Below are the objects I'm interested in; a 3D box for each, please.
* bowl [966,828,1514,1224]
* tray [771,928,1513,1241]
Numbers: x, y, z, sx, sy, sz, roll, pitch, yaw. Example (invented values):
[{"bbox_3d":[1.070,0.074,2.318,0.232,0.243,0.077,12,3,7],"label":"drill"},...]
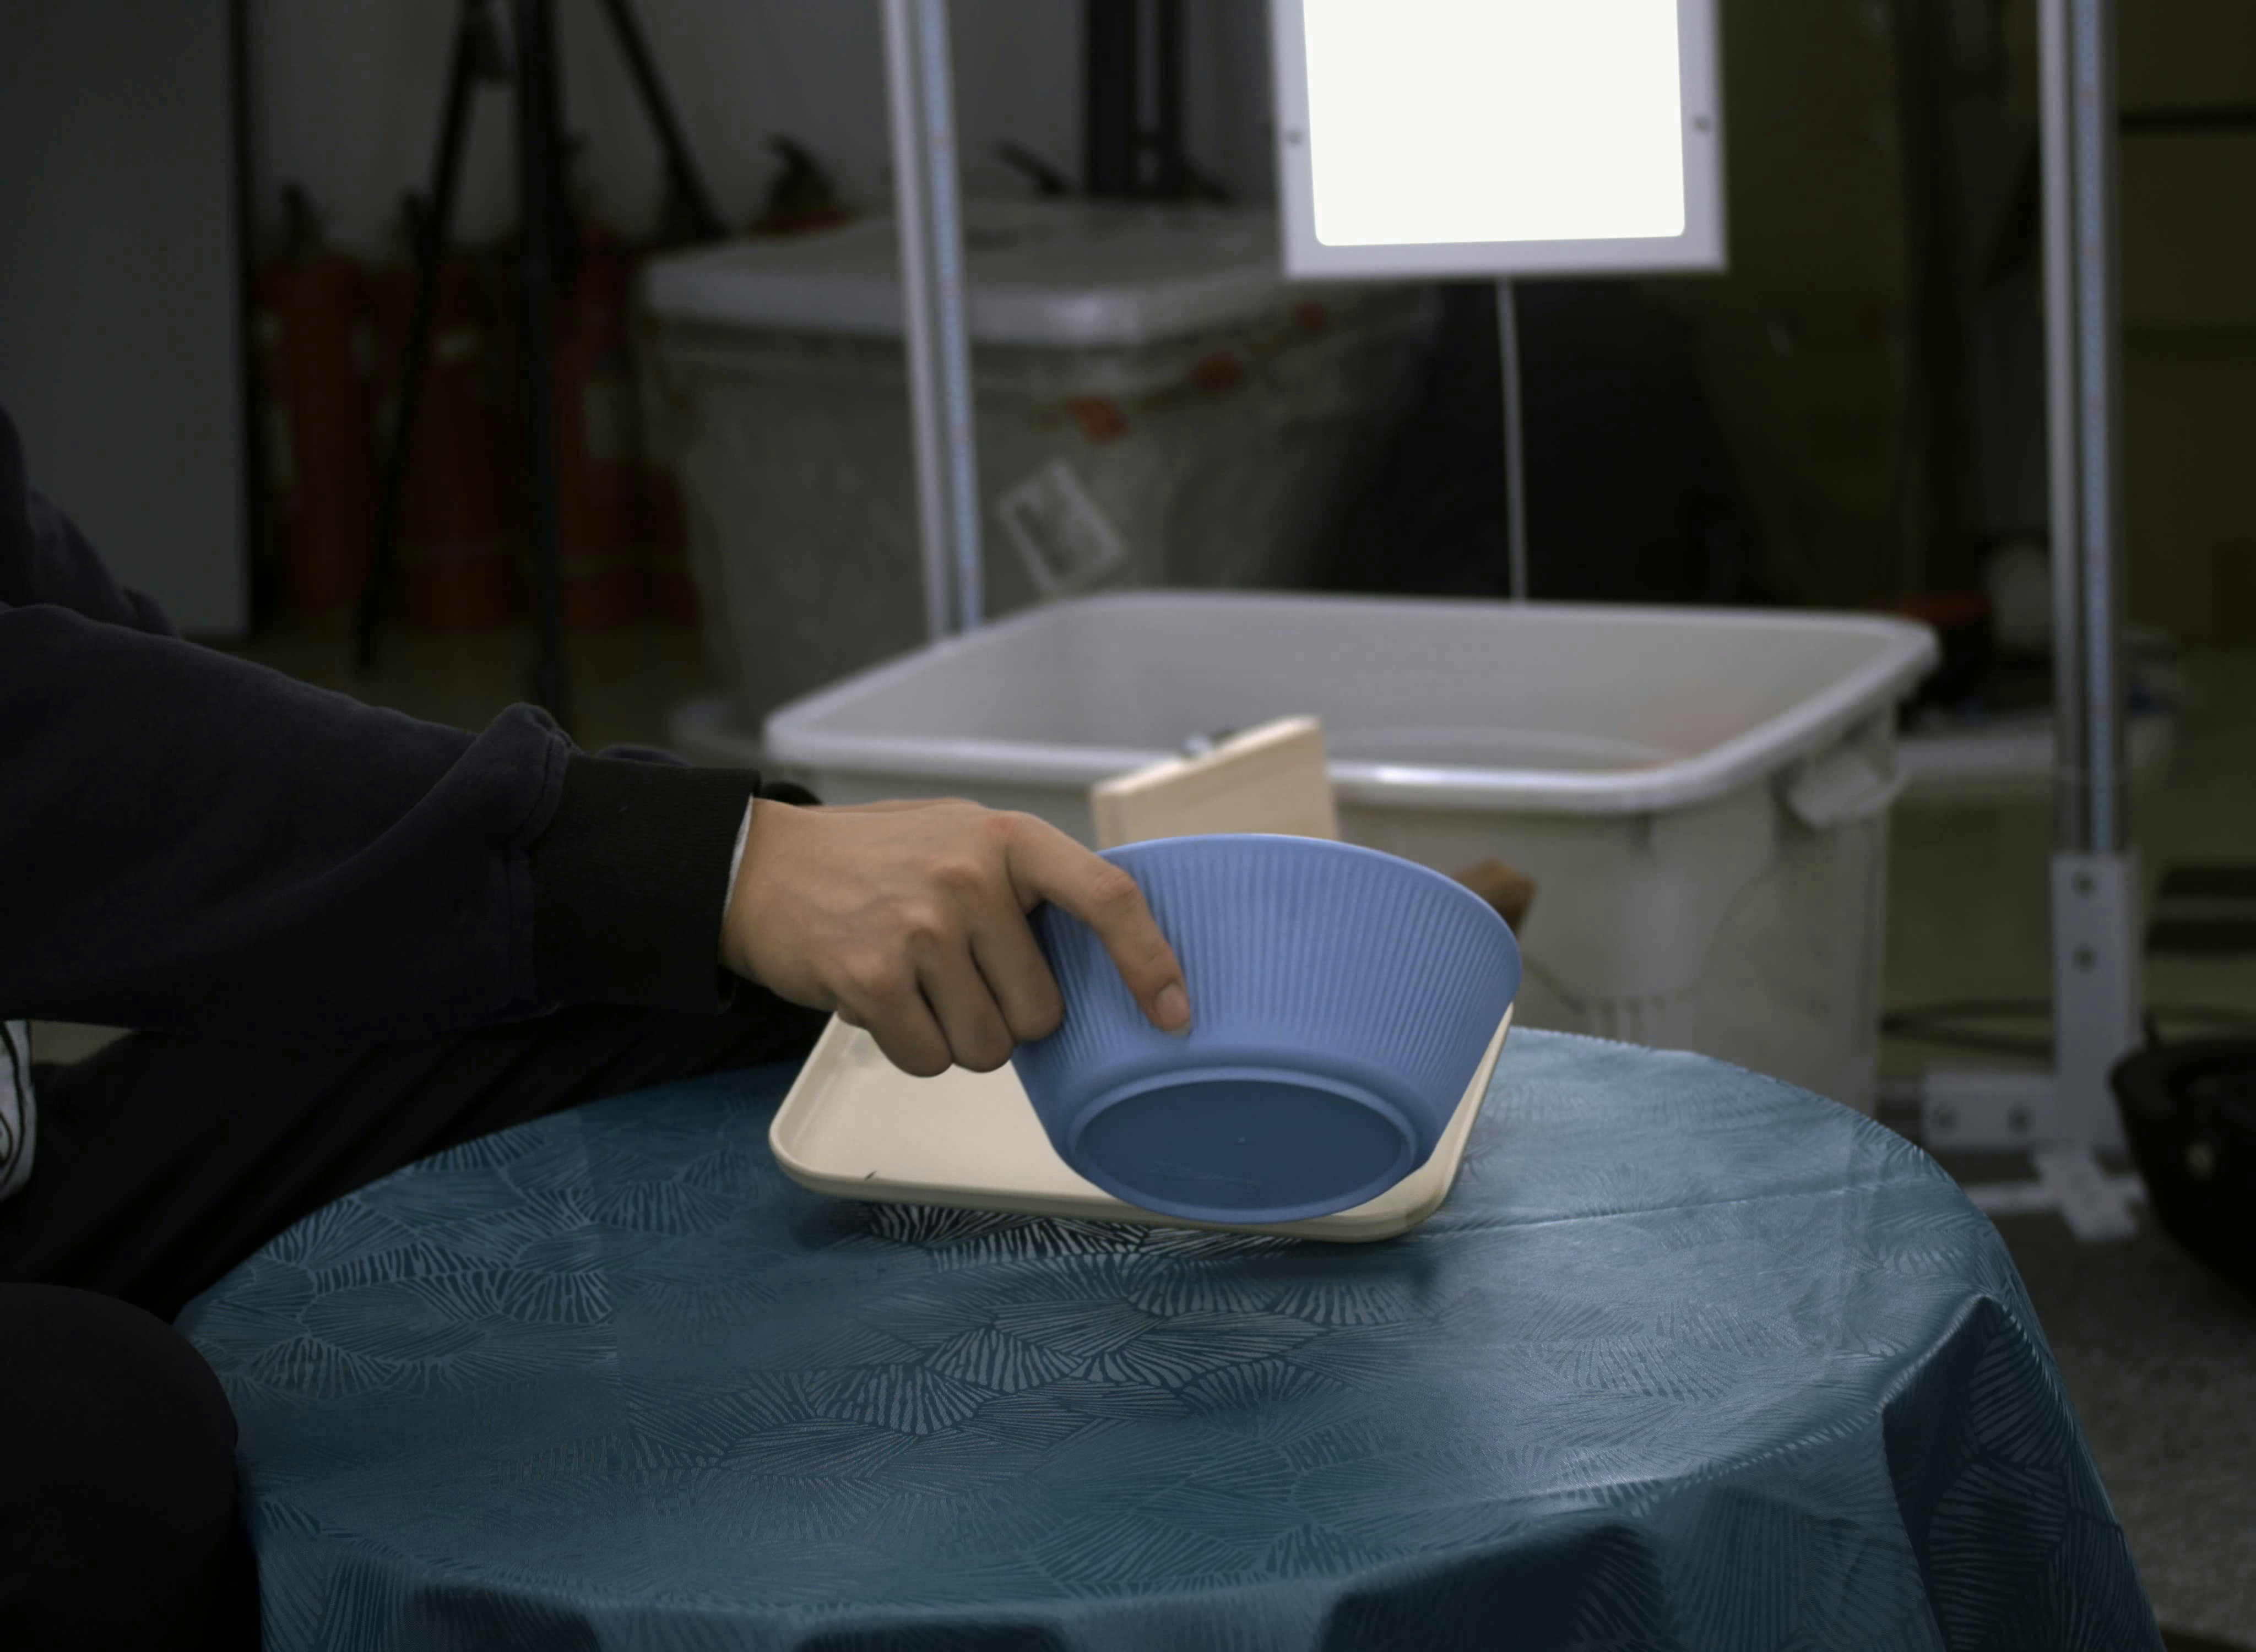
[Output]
[{"bbox_3d":[0.035,0.072,1.736,0.175,0.070,0.177,3,-29,0],"label":"bowl"},{"bbox_3d":[0.007,0.090,1.909,0.242,0.017,0.169,4,30,16],"label":"tray"}]
